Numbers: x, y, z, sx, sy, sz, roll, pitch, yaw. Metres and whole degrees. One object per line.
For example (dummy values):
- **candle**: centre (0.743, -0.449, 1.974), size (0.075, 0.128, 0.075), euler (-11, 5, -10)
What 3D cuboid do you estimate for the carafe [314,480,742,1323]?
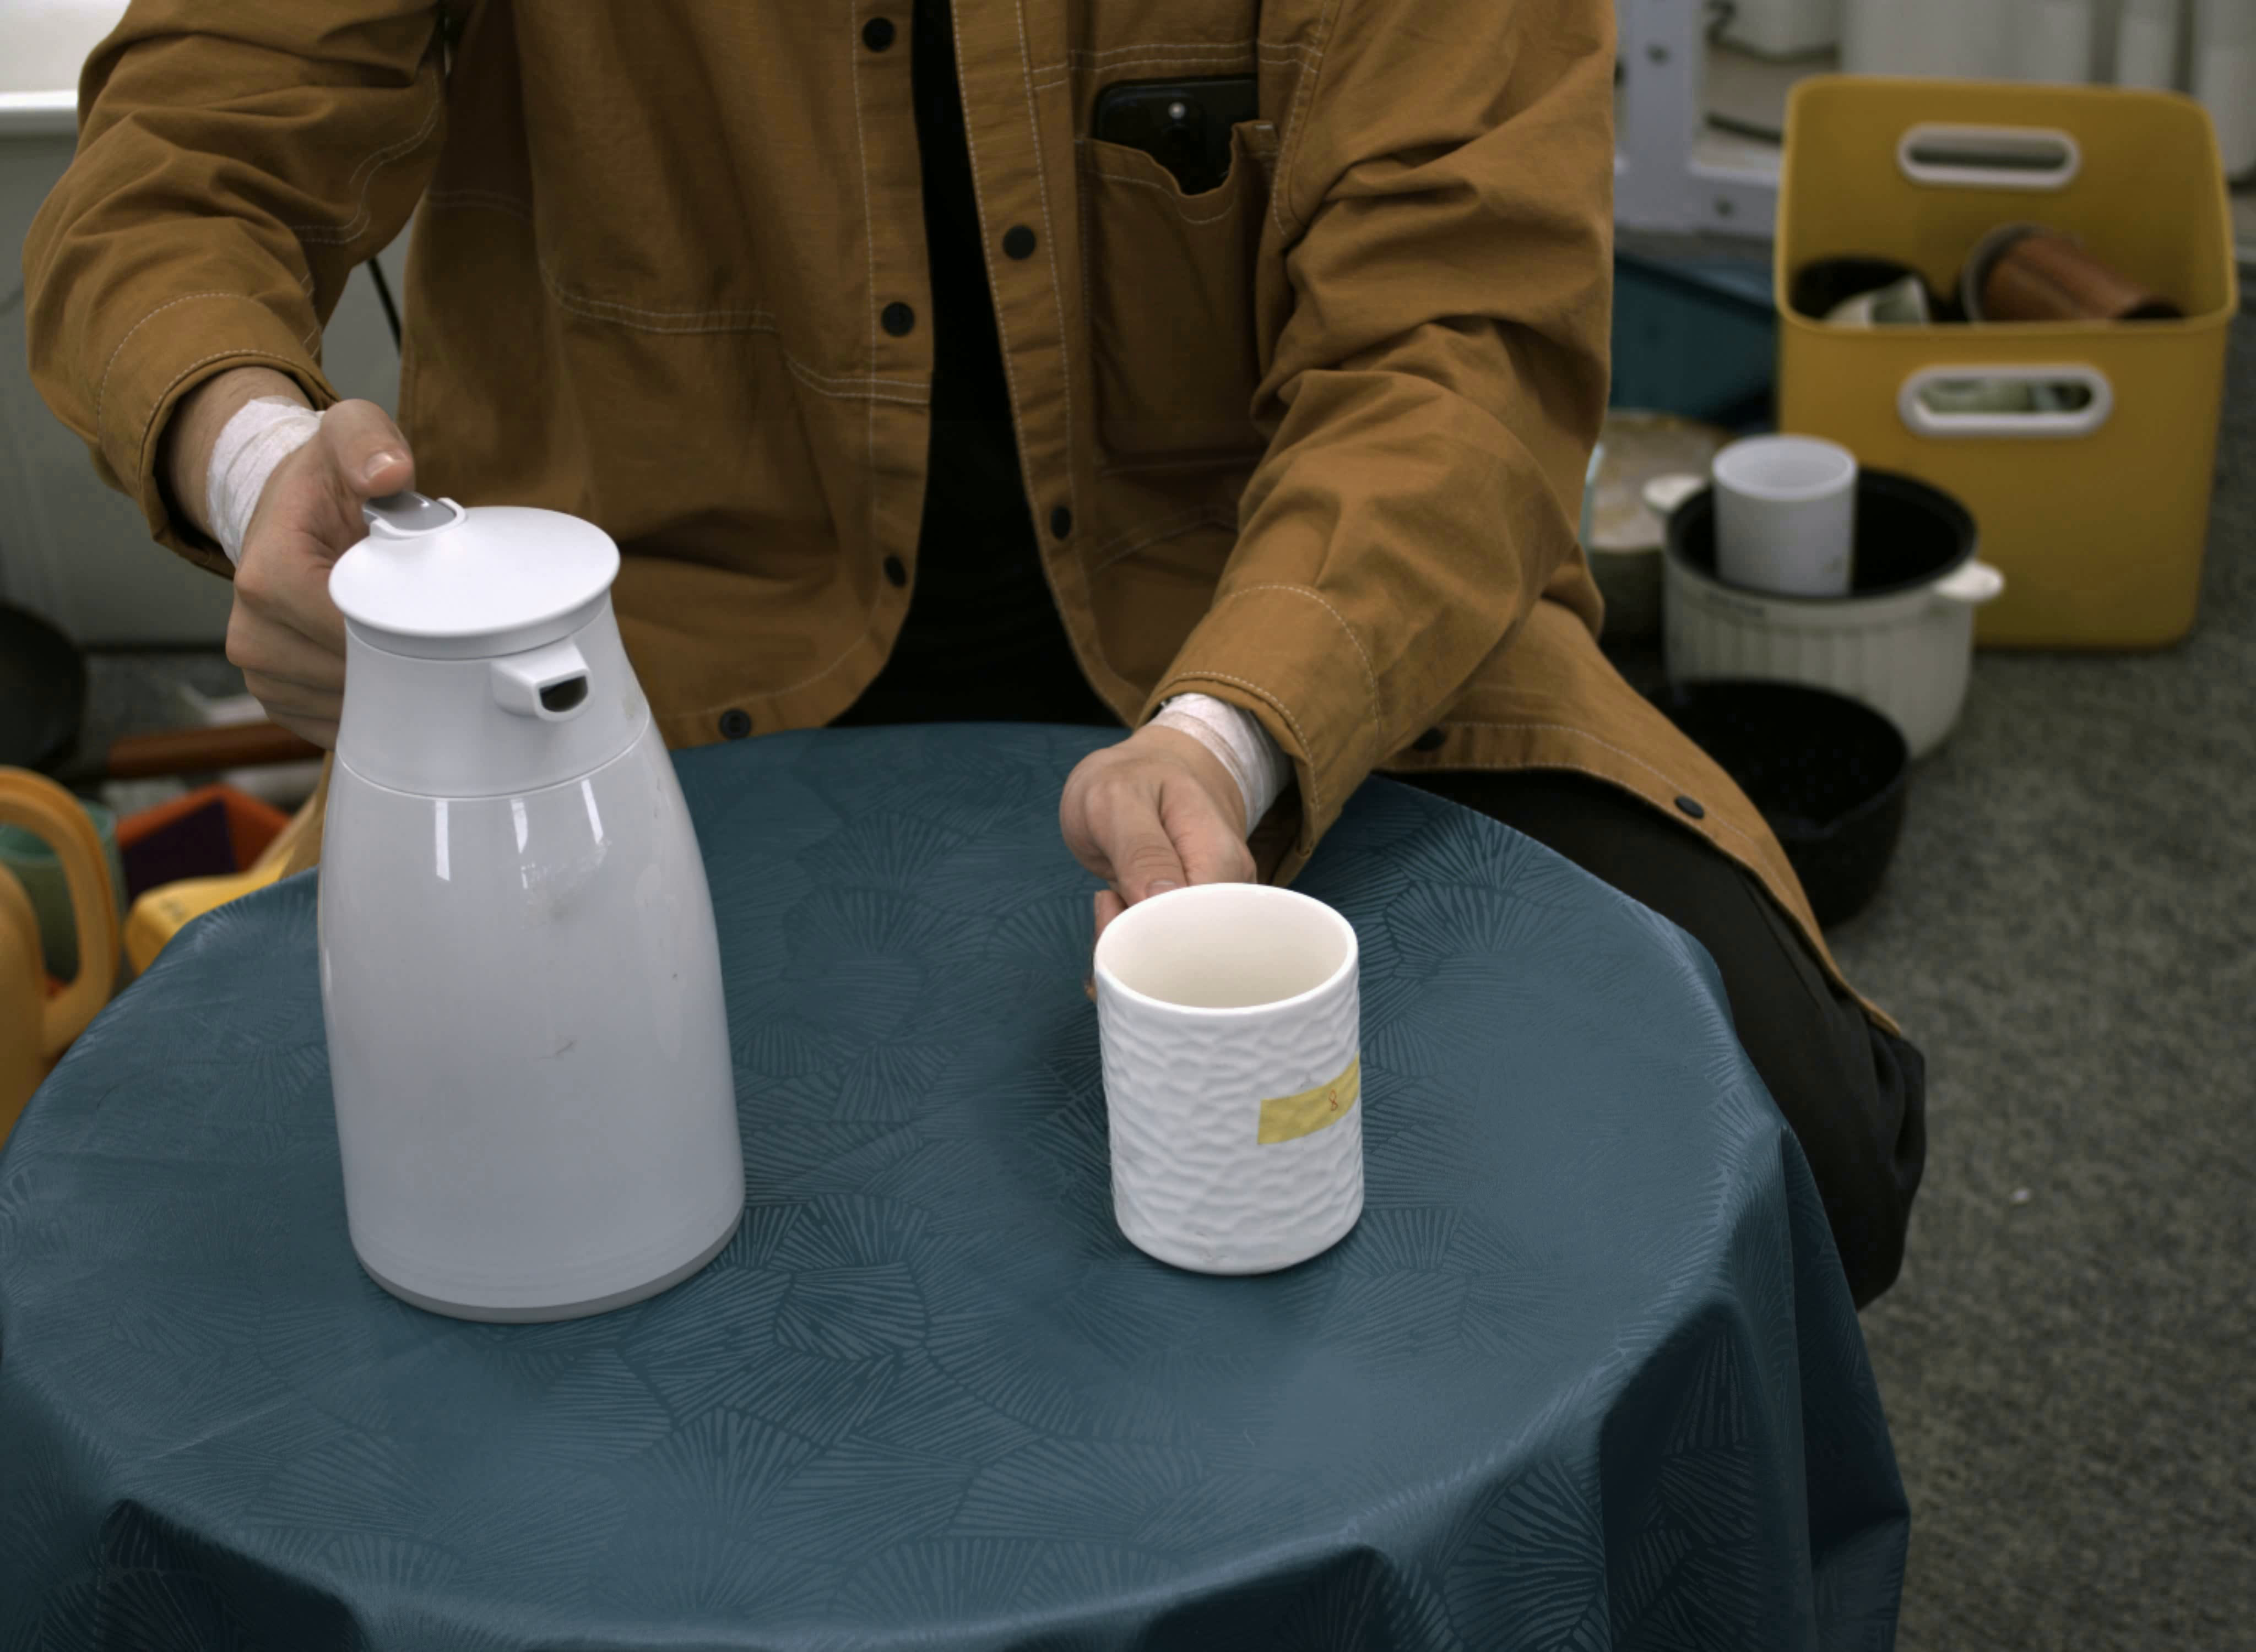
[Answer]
- **carafe**: centre (-0.210, 0.014, 1.821), size (0.133, 0.246, 0.168), euler (-19, 30, -27)

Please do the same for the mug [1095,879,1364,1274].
- **mug**: centre (0.027, 0.075, 1.834), size (0.085, 0.101, 0.119), euler (-13, 29, -21)
